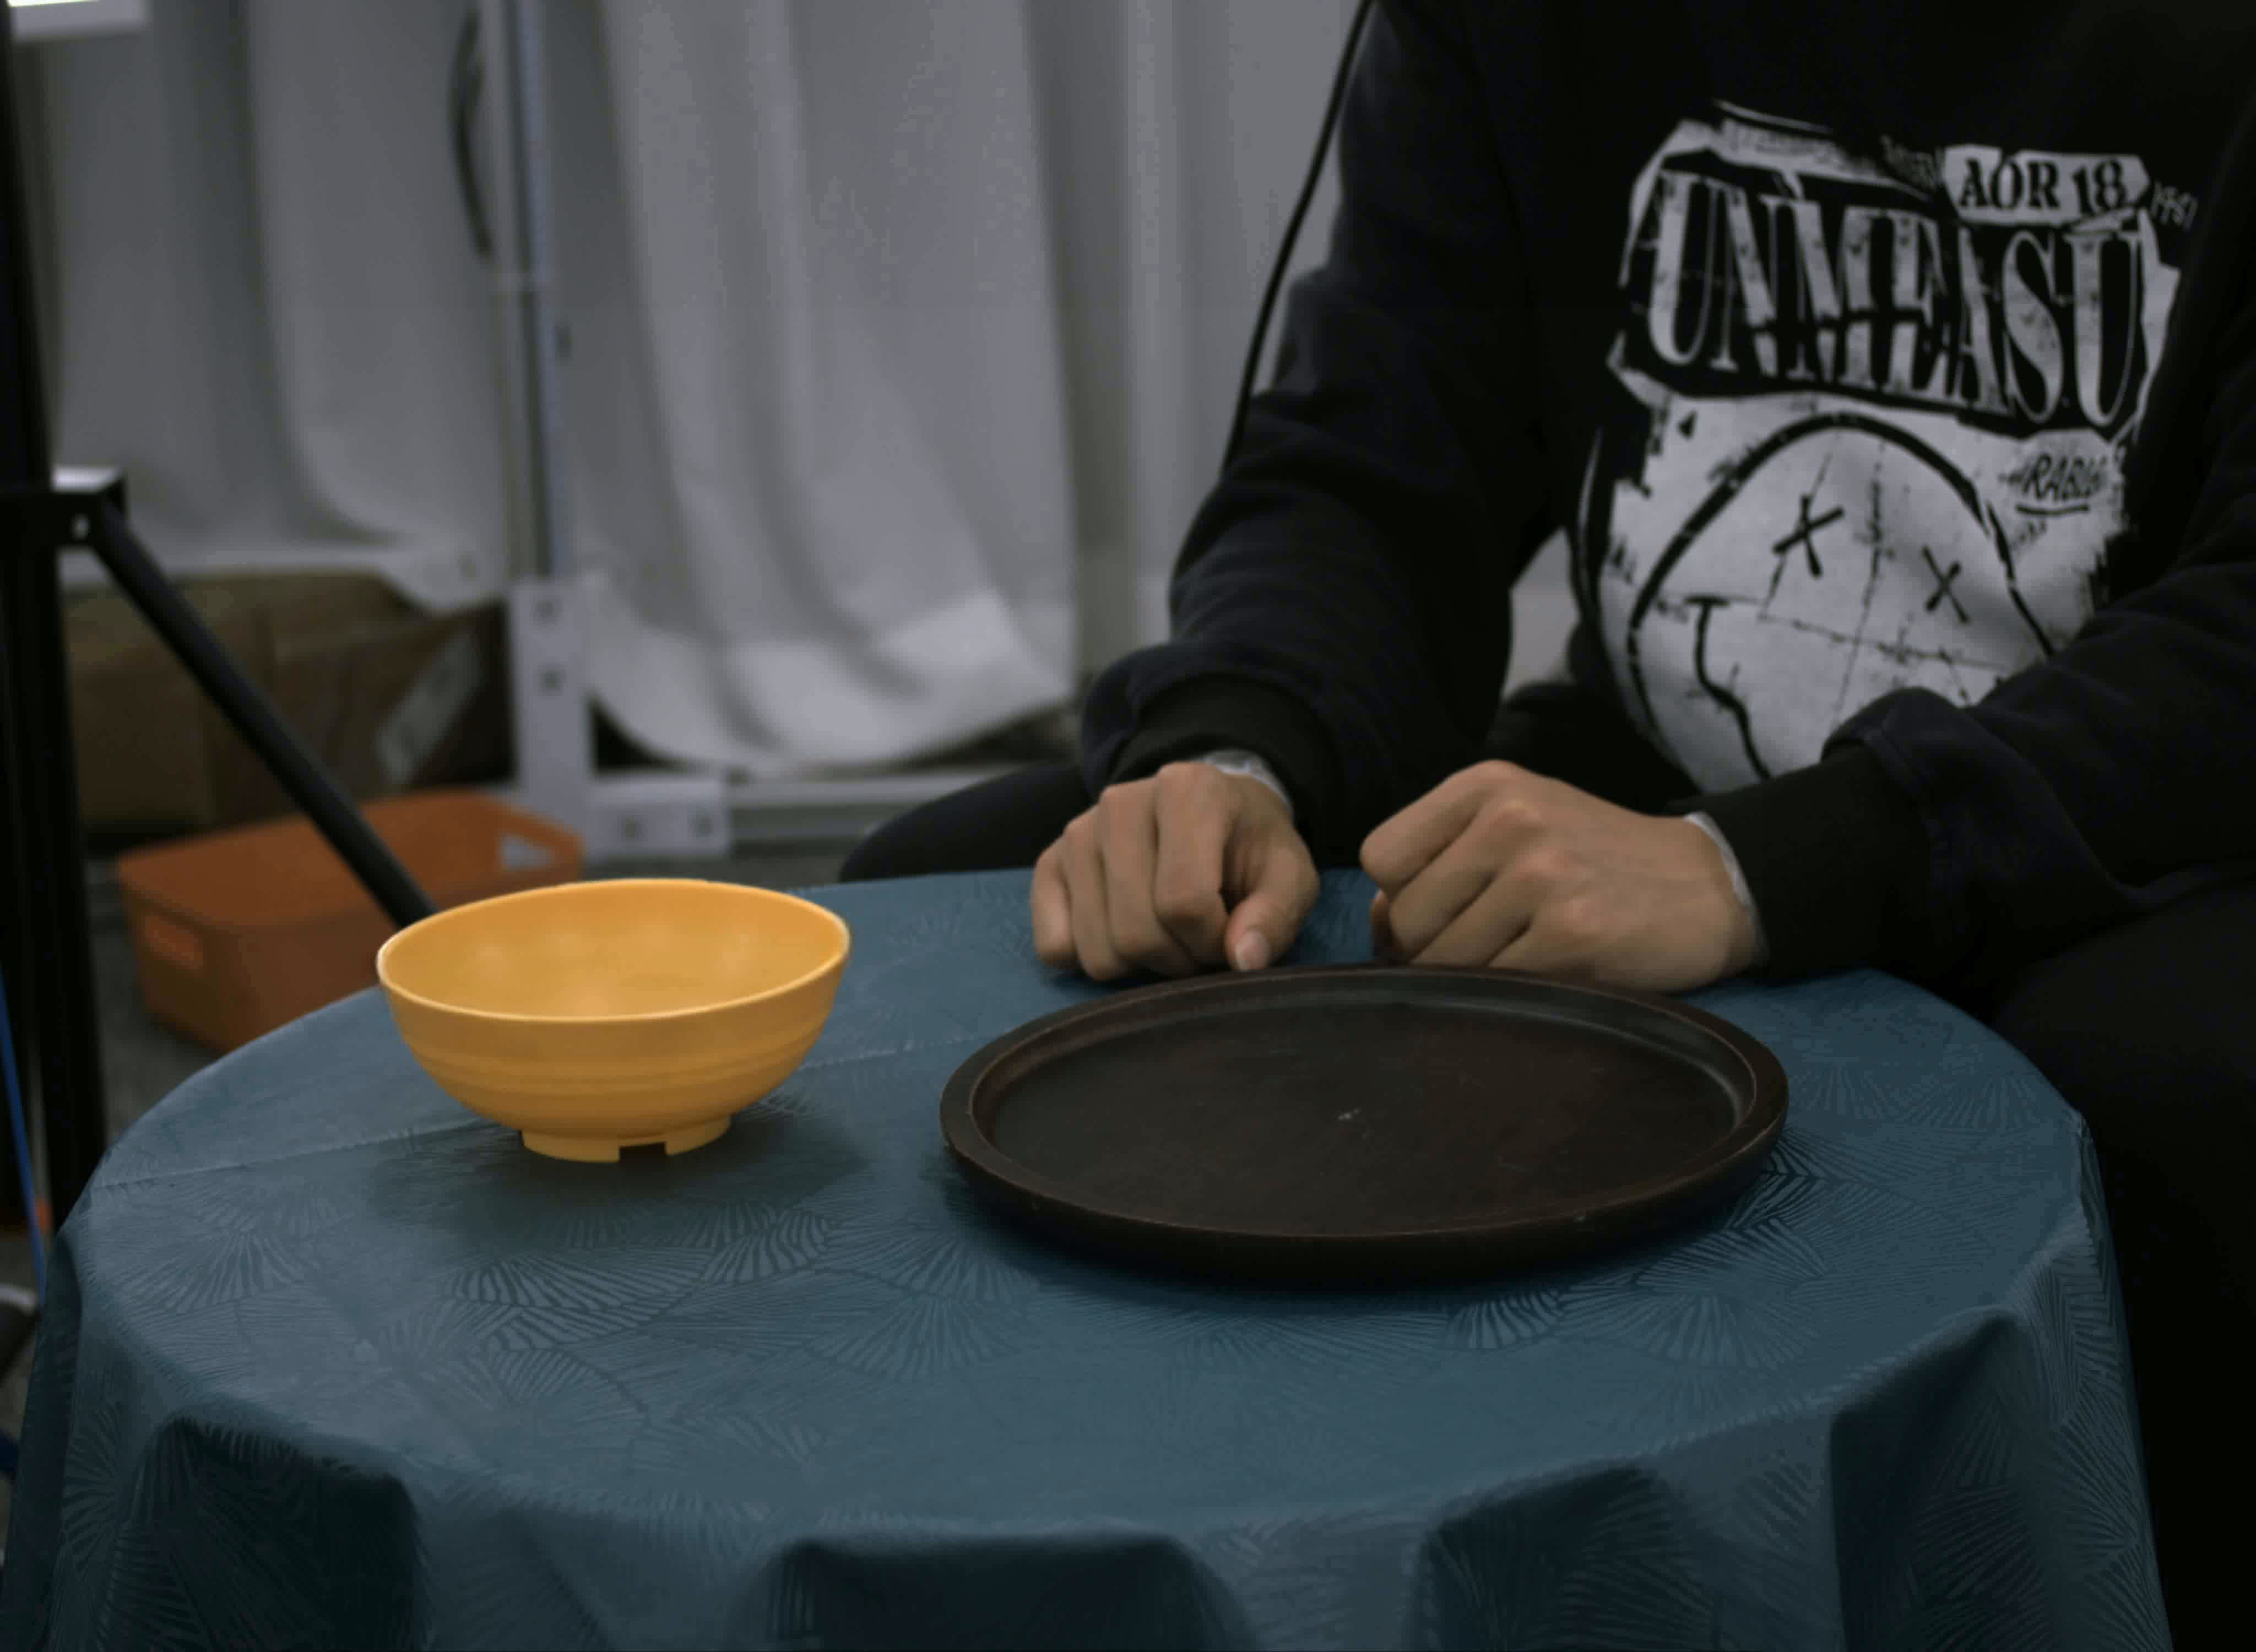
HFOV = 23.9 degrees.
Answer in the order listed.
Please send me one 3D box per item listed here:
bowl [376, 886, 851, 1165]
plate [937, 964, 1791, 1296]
[{"bbox_3d":[-0.156,0.066,1.631,0.144,0.060,0.146,-1,14,-1],"label":"bowl"},{"bbox_3d":[0.070,0.088,1.575,0.253,0.029,0.256,-4,14,0],"label":"plate"}]
